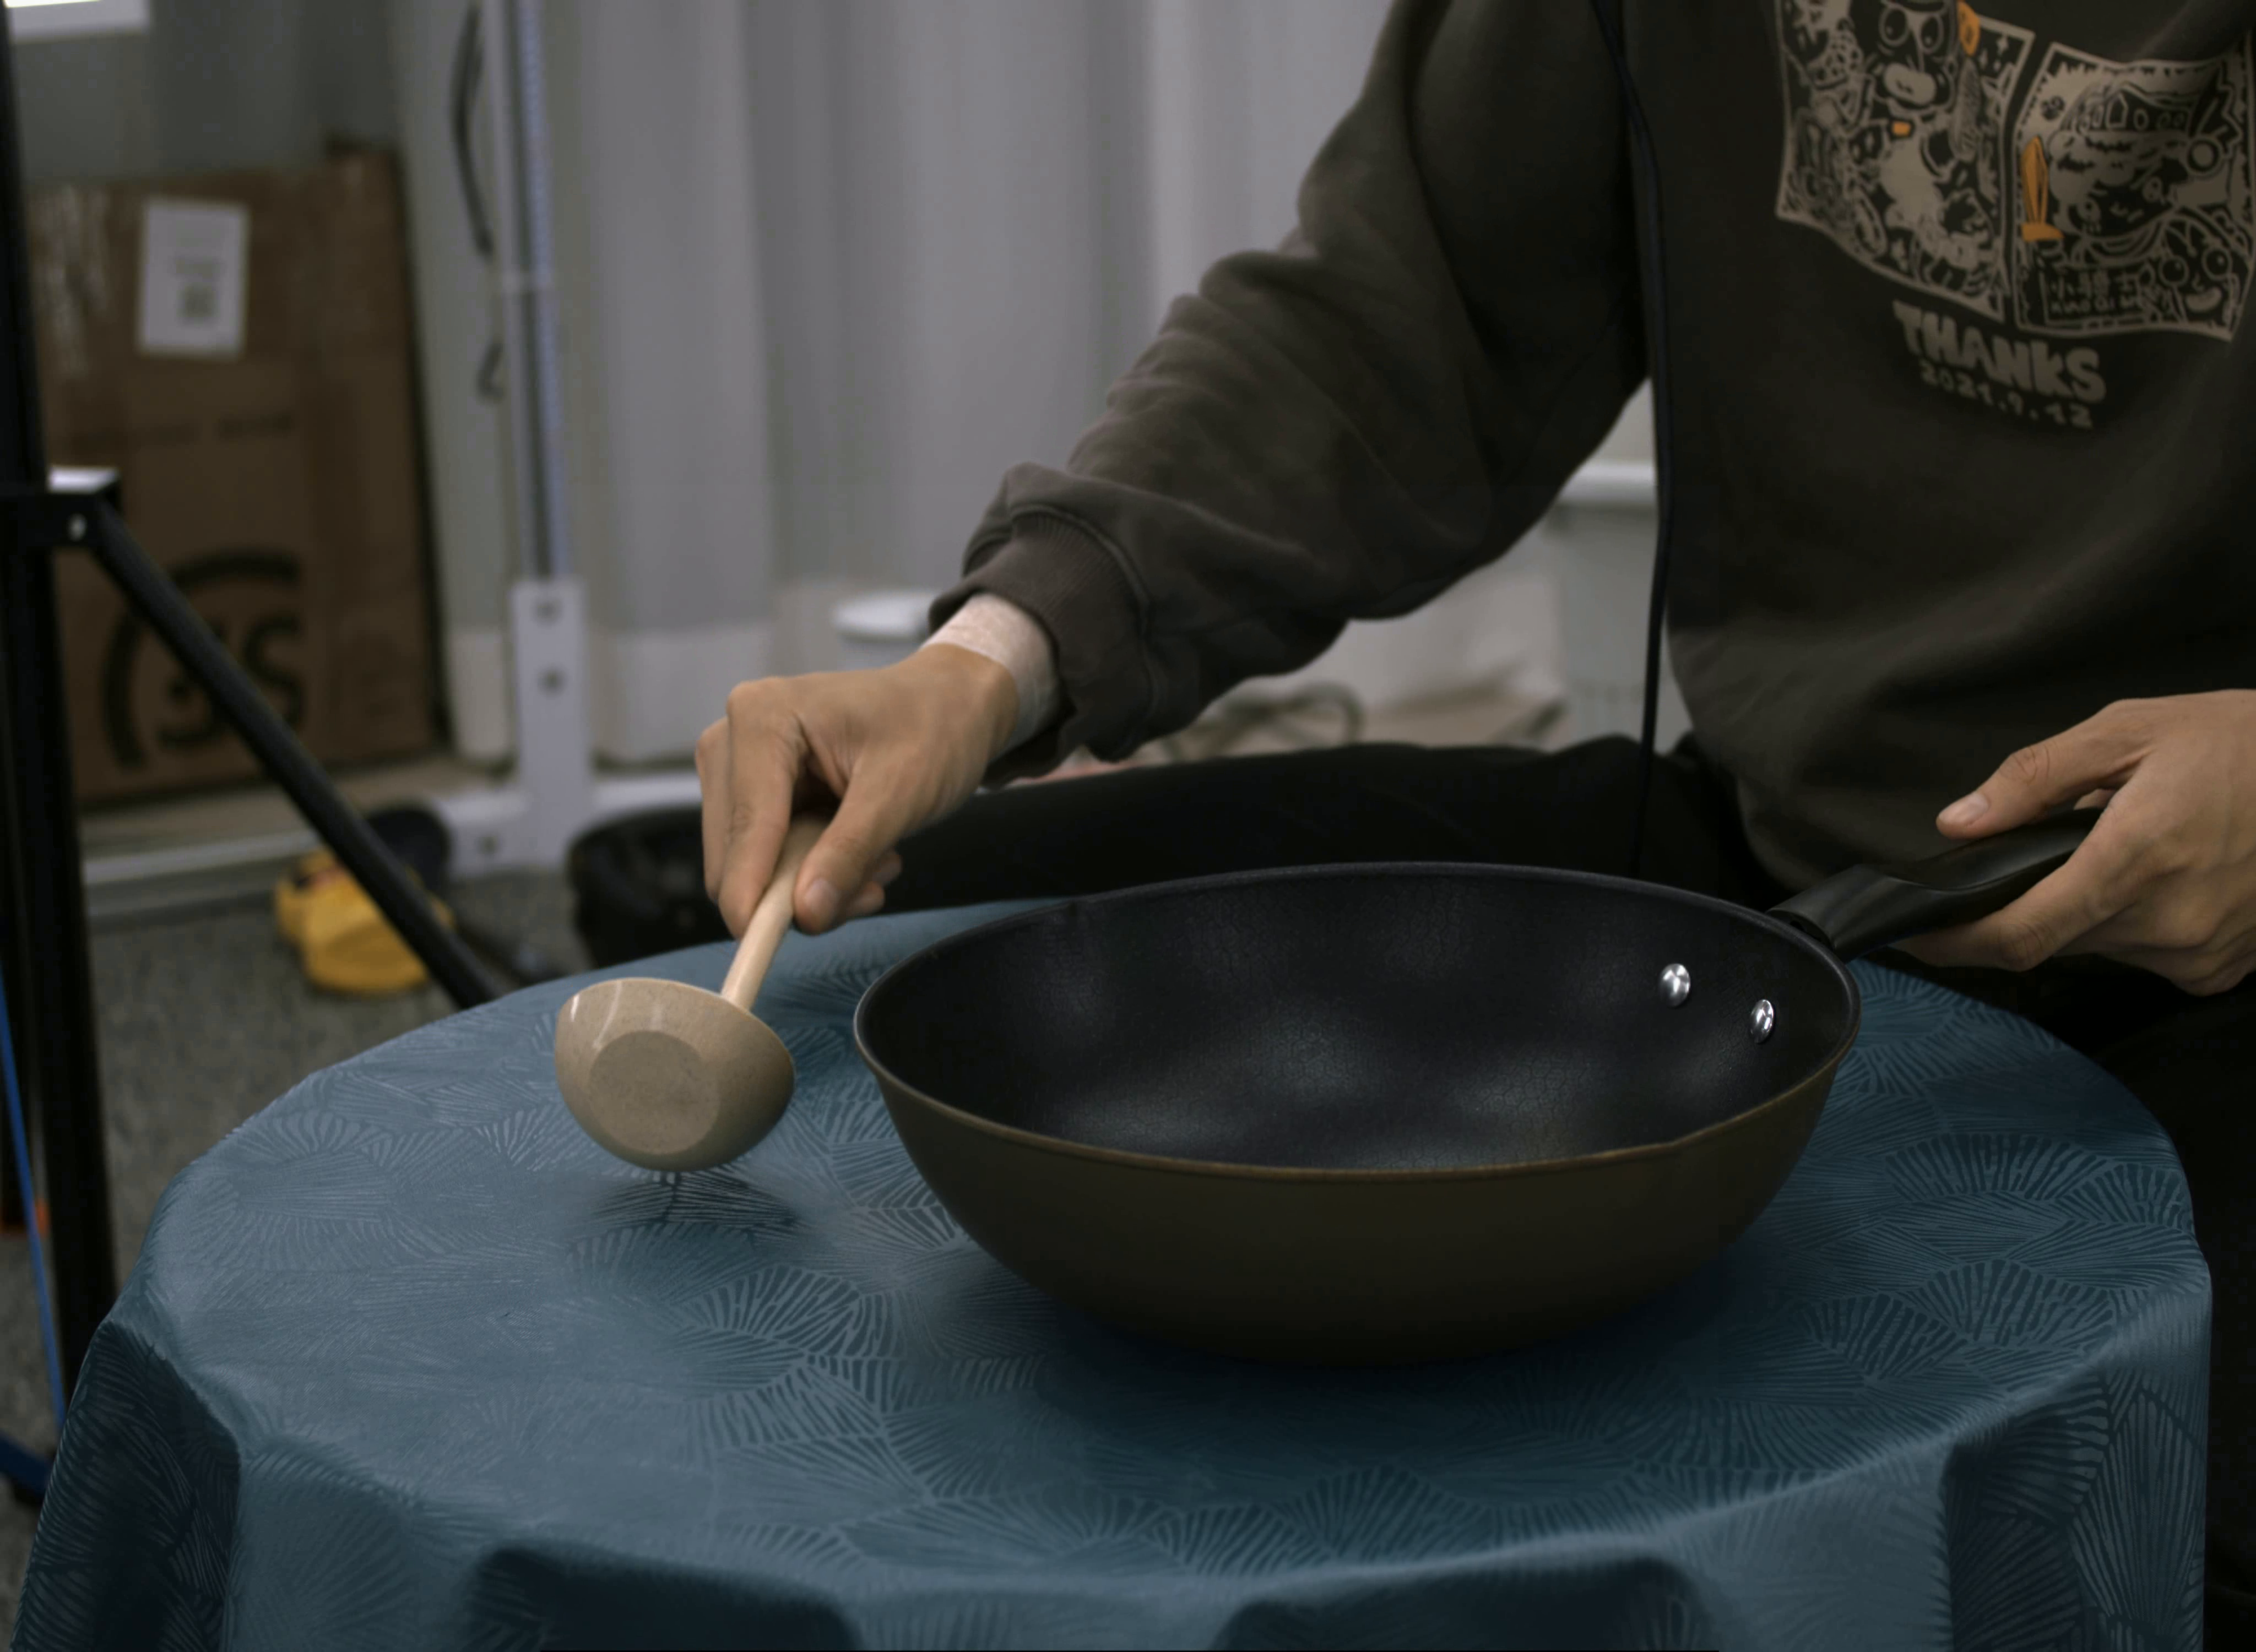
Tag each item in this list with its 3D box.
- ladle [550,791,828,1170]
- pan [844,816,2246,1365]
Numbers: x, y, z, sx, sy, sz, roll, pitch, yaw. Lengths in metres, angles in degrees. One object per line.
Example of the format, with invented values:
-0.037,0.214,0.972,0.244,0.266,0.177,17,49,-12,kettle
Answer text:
-0.122,0.020,1.652,0.072,0.072,0.255,3,29,6,ladle
0.139,0.070,1.521,0.453,0.087,0.294,-11,17,-29,pan
